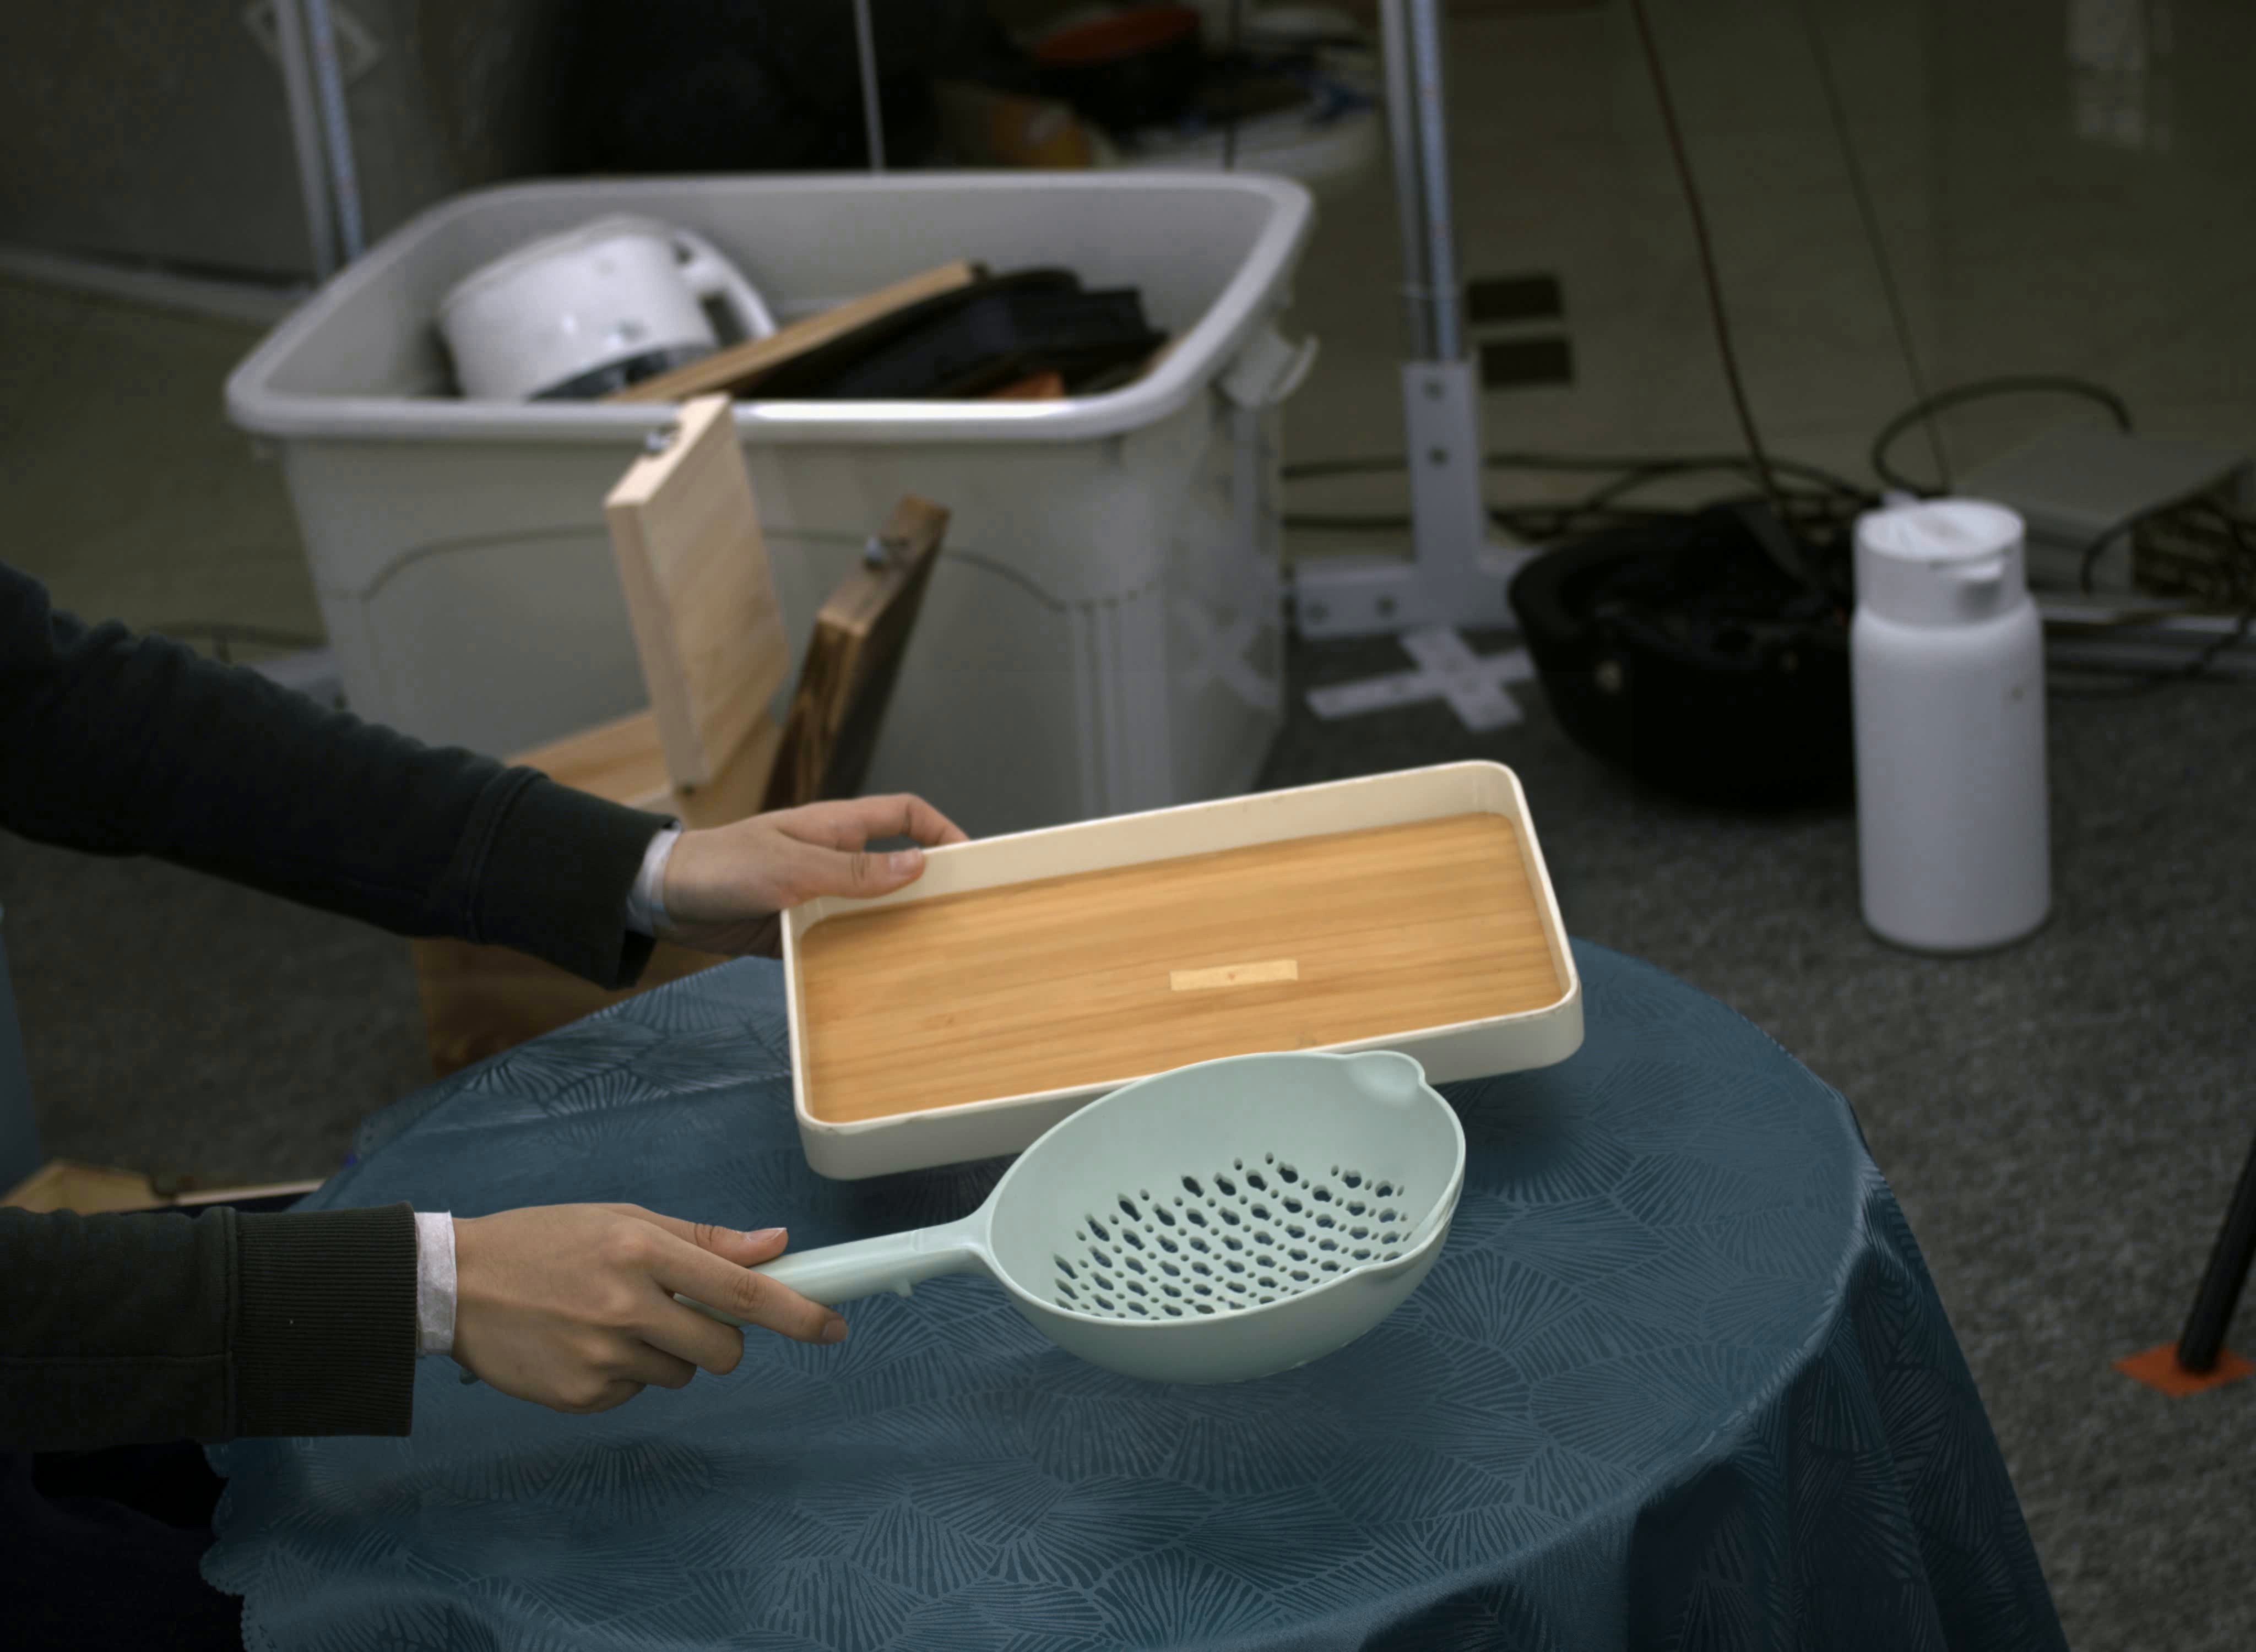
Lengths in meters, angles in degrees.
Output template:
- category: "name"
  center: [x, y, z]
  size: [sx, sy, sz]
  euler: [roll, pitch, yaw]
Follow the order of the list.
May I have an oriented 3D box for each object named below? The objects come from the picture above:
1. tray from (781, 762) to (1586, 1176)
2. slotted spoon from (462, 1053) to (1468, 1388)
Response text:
- category: "tray"
  center: [0.017, 0.054, 2.196]
  size: [0.300, 0.028, 0.188]
  euler: [-9, 32, 0]
- category: "slotted spoon"
  center: [-0.059, 0.152, 1.984]
  size: [0.358, 0.076, 0.166]
  euler: [-3, 28, 2]
